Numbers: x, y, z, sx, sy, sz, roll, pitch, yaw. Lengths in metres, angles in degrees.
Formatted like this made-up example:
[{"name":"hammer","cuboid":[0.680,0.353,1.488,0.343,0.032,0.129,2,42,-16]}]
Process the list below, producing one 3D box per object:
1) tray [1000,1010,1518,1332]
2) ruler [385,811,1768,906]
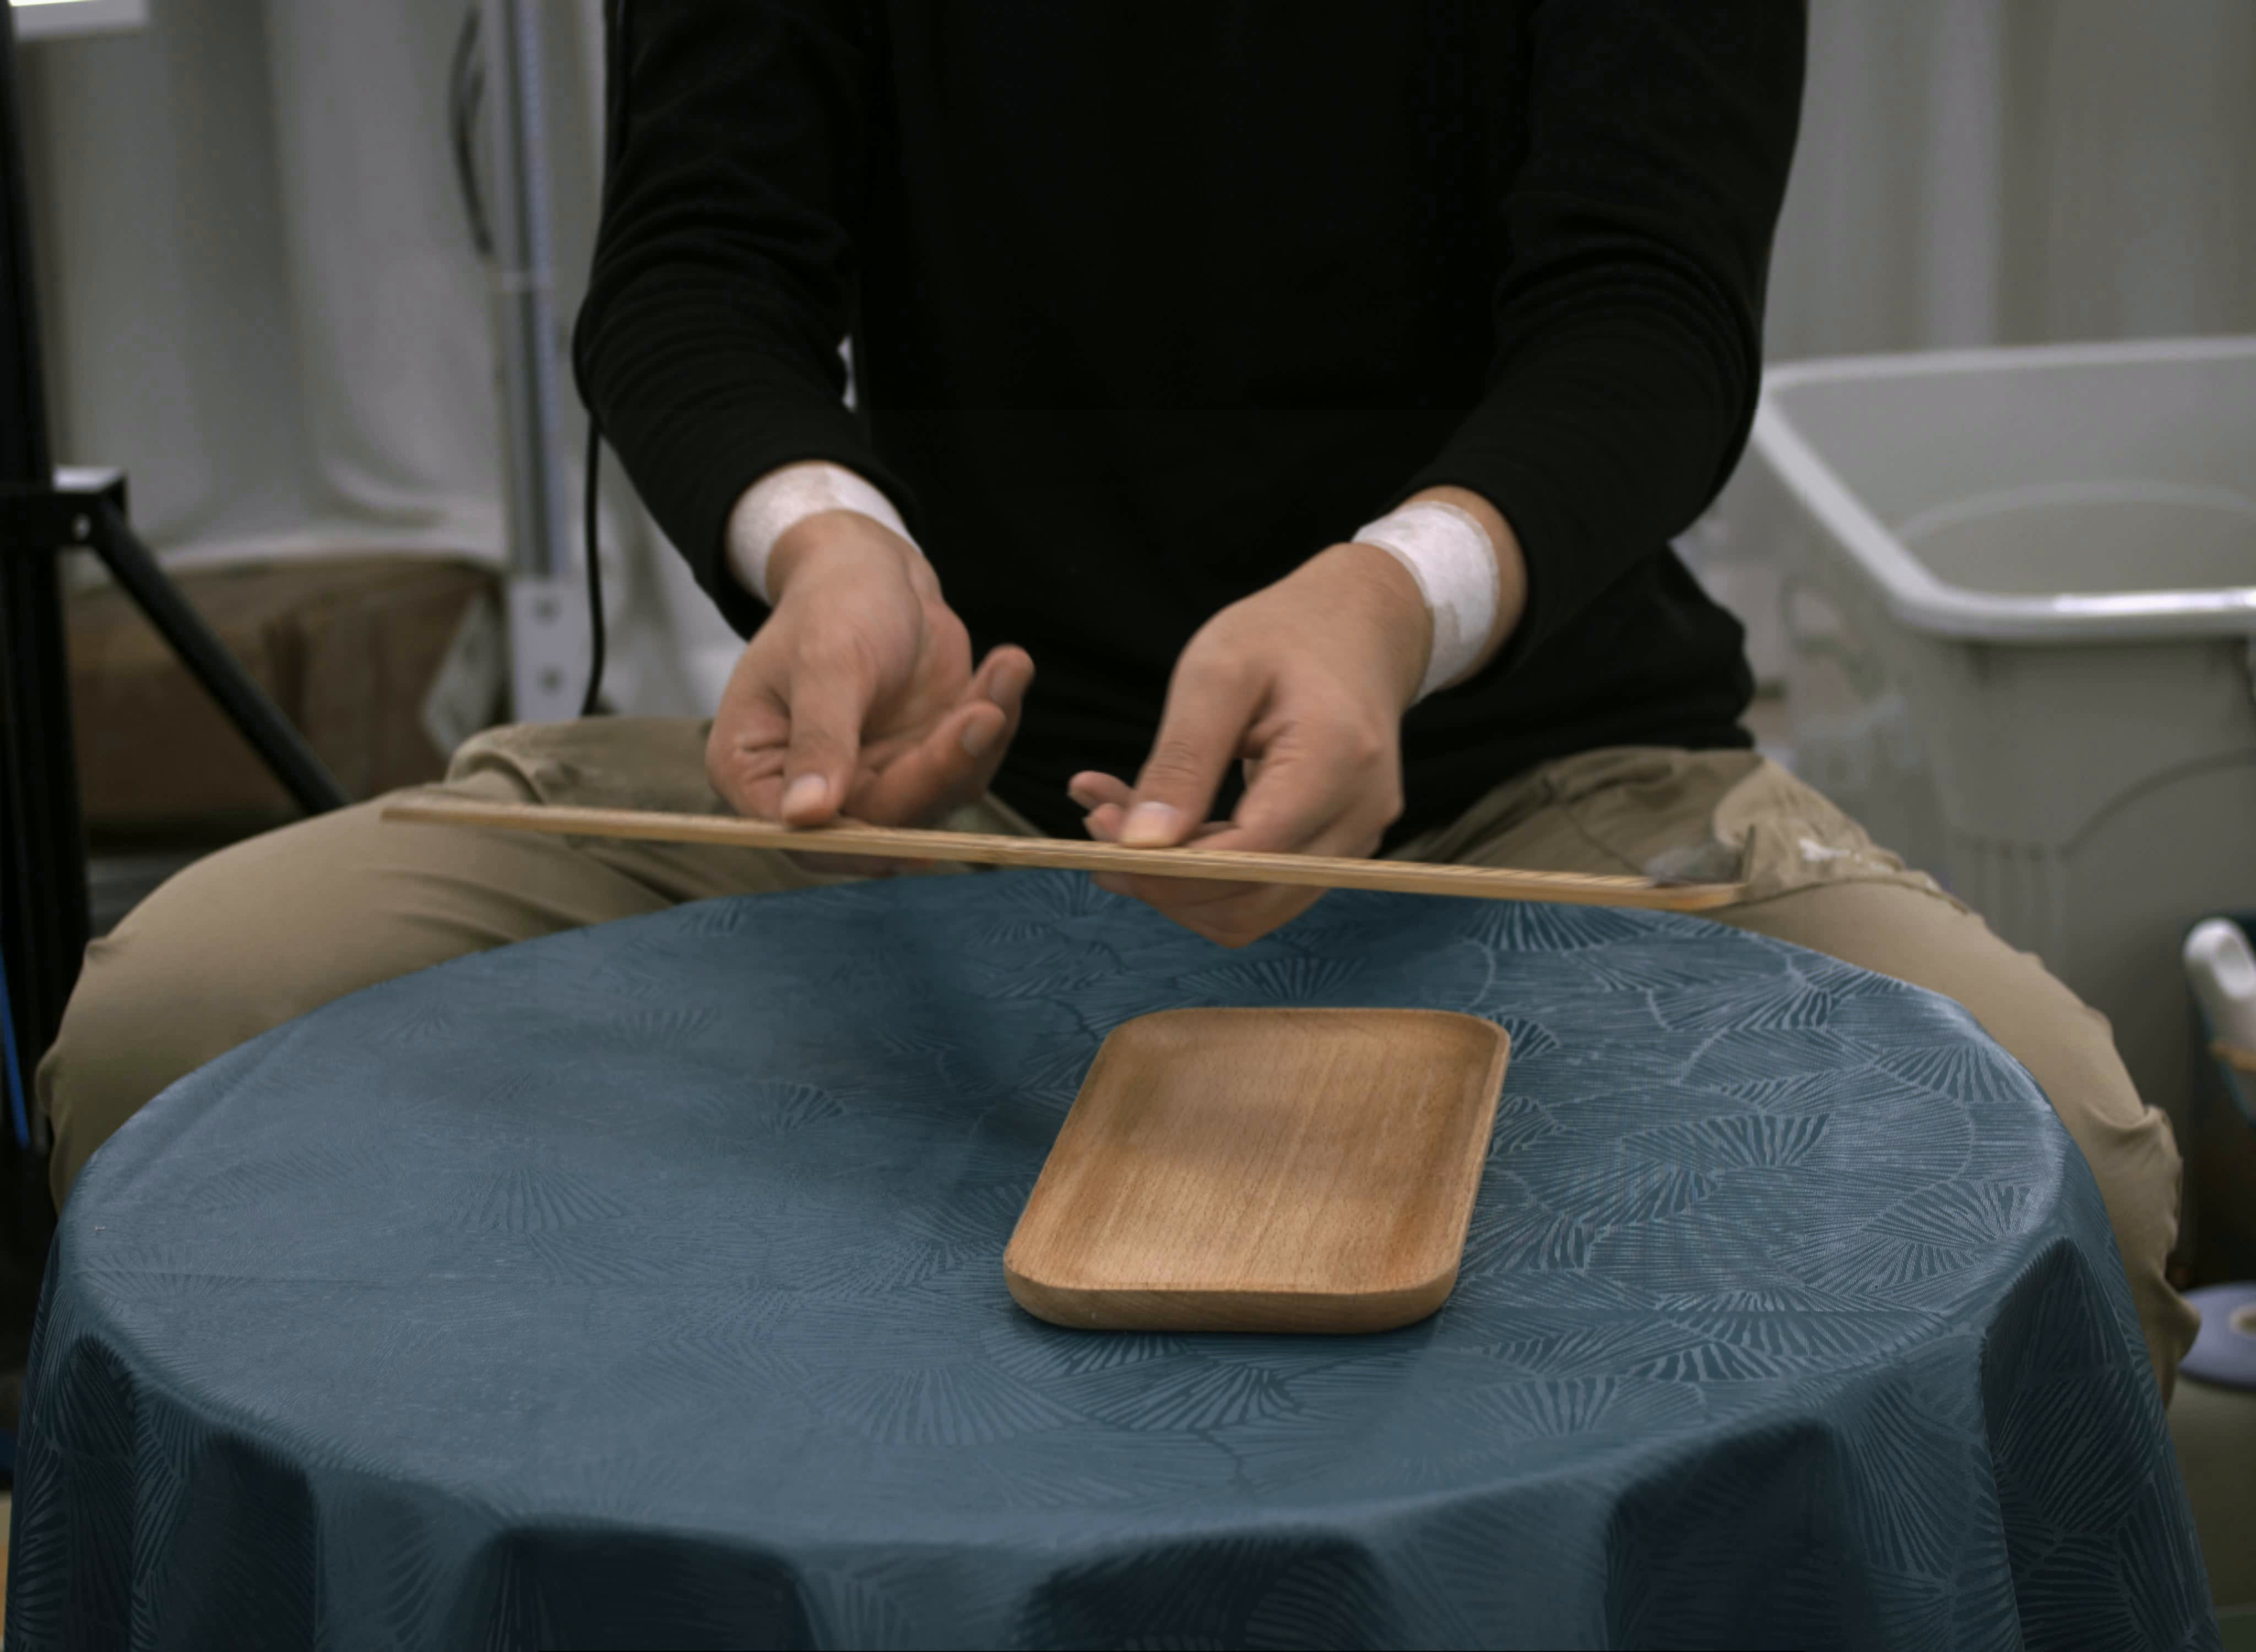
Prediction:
[{"name":"tray","cuboid":[0.043,0.098,1.555,0.131,0.023,0.249,2,15,10]},{"name":"ruler","cuboid":[-0.033,0.008,1.573,0.511,0.006,0.026,3,6,38]}]
